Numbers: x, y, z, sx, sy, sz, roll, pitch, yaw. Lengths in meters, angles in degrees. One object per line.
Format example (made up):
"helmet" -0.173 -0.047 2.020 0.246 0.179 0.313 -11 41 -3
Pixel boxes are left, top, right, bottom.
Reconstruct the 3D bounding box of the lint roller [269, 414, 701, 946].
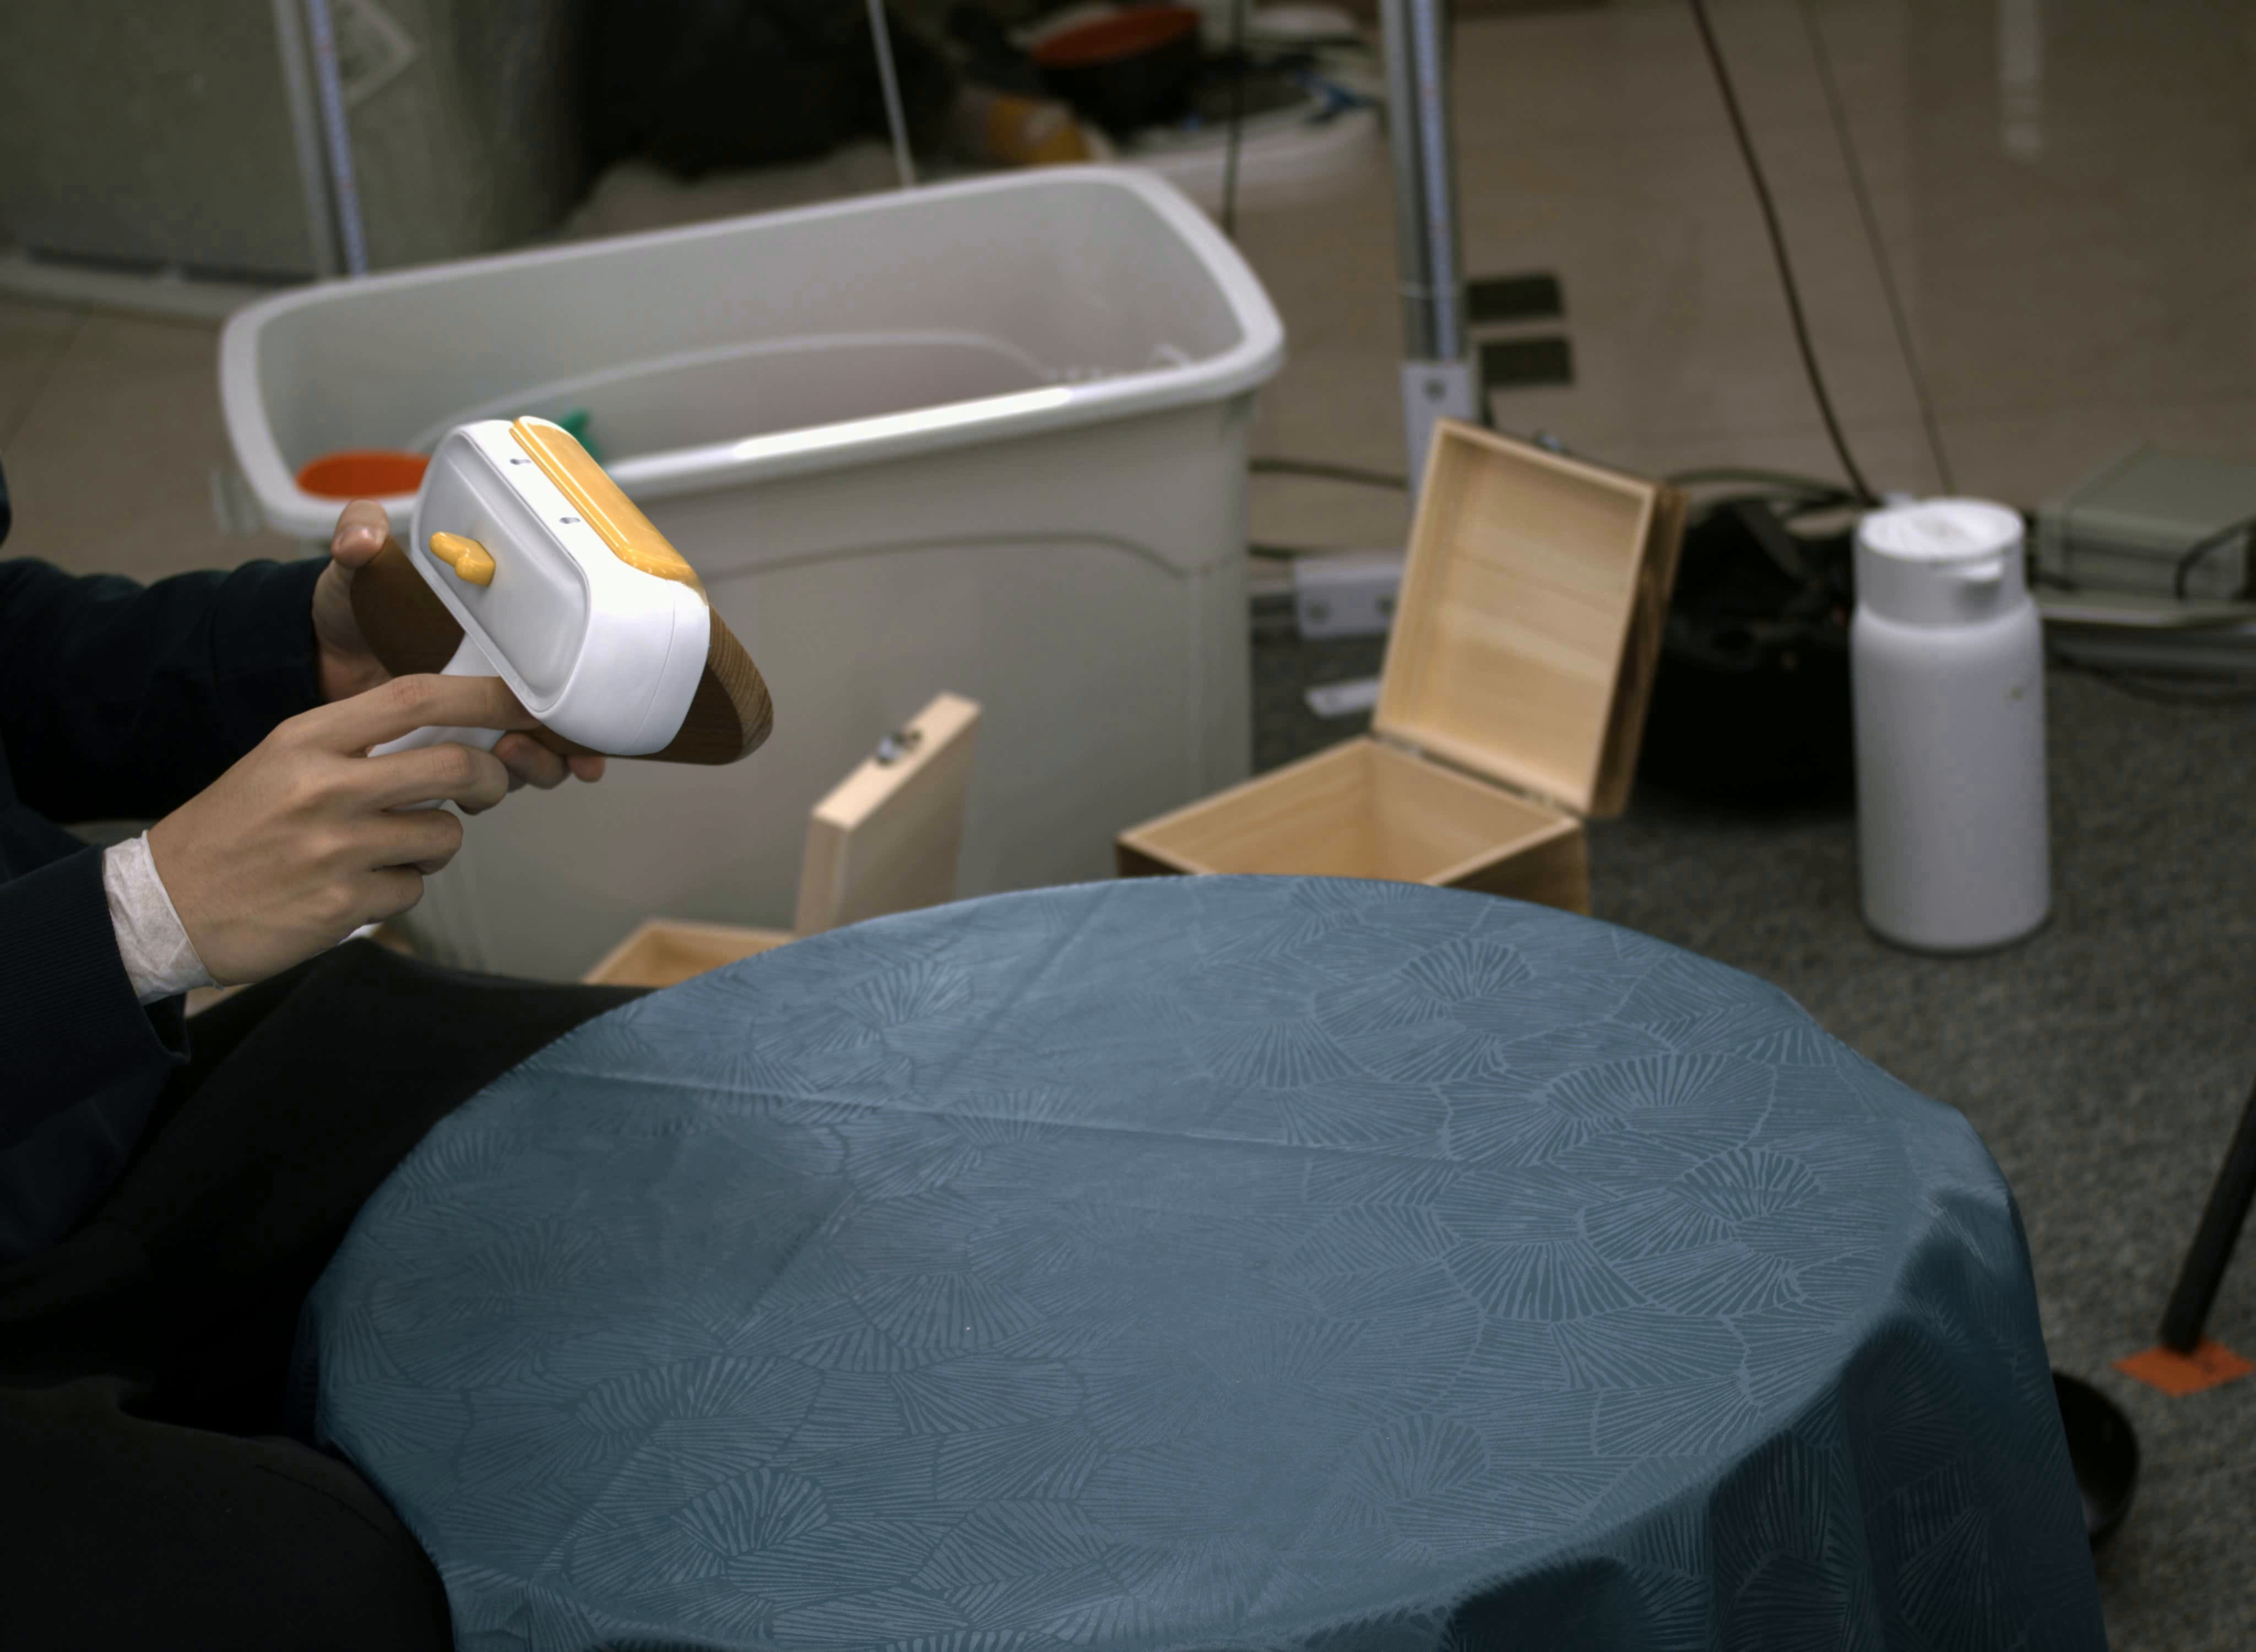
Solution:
"lint roller" -0.236 -0.040 1.992 0.074 0.193 0.190 21 11 -36

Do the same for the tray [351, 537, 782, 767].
"tray" -0.215 -0.065 2.131 0.230 0.103 0.020 5 46 48
